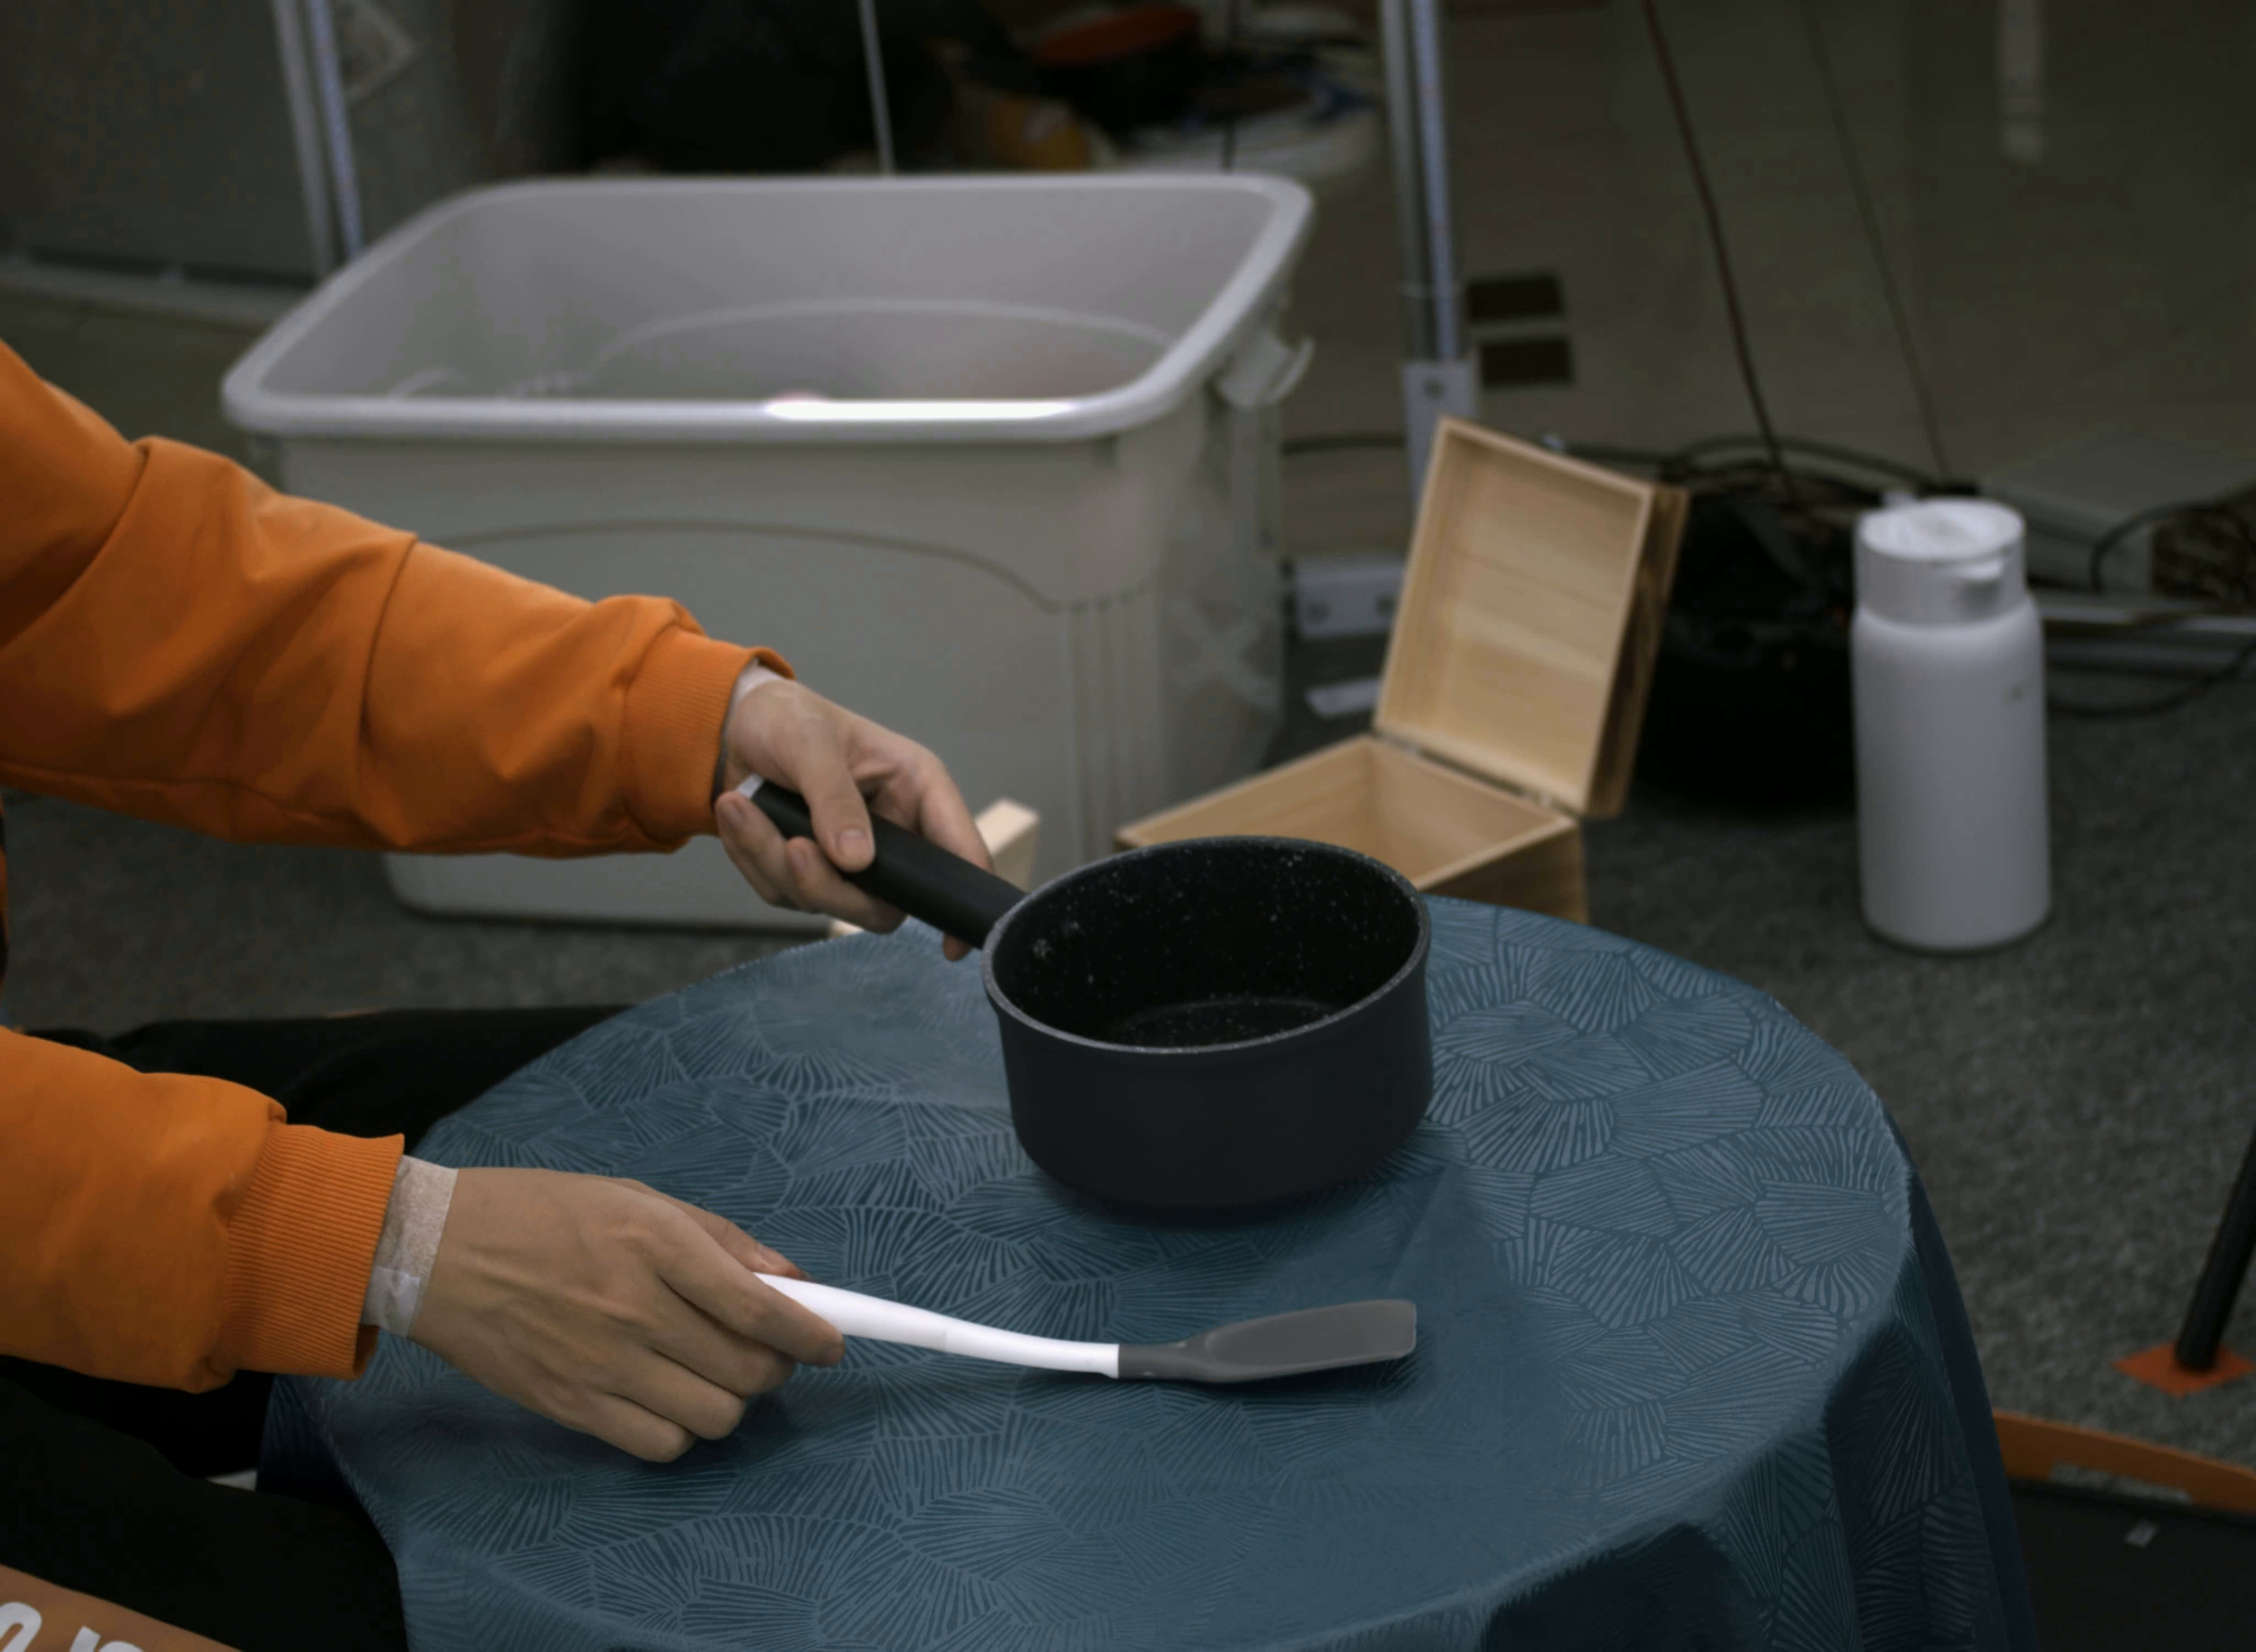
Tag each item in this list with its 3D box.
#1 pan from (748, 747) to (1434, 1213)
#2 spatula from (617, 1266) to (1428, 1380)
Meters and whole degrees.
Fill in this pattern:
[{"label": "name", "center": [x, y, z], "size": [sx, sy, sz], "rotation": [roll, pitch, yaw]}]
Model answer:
[{"label": "pan", "center": [-0.026, 0.053, 2.206], "size": [0.326, 0.088, 0.170], "rotation": [21, 37, 39]}, {"label": "spatula", "center": [-0.037, 0.178, 2.018], "size": [0.287, 0.032, 0.058], "rotation": [2, 15, 2]}]
